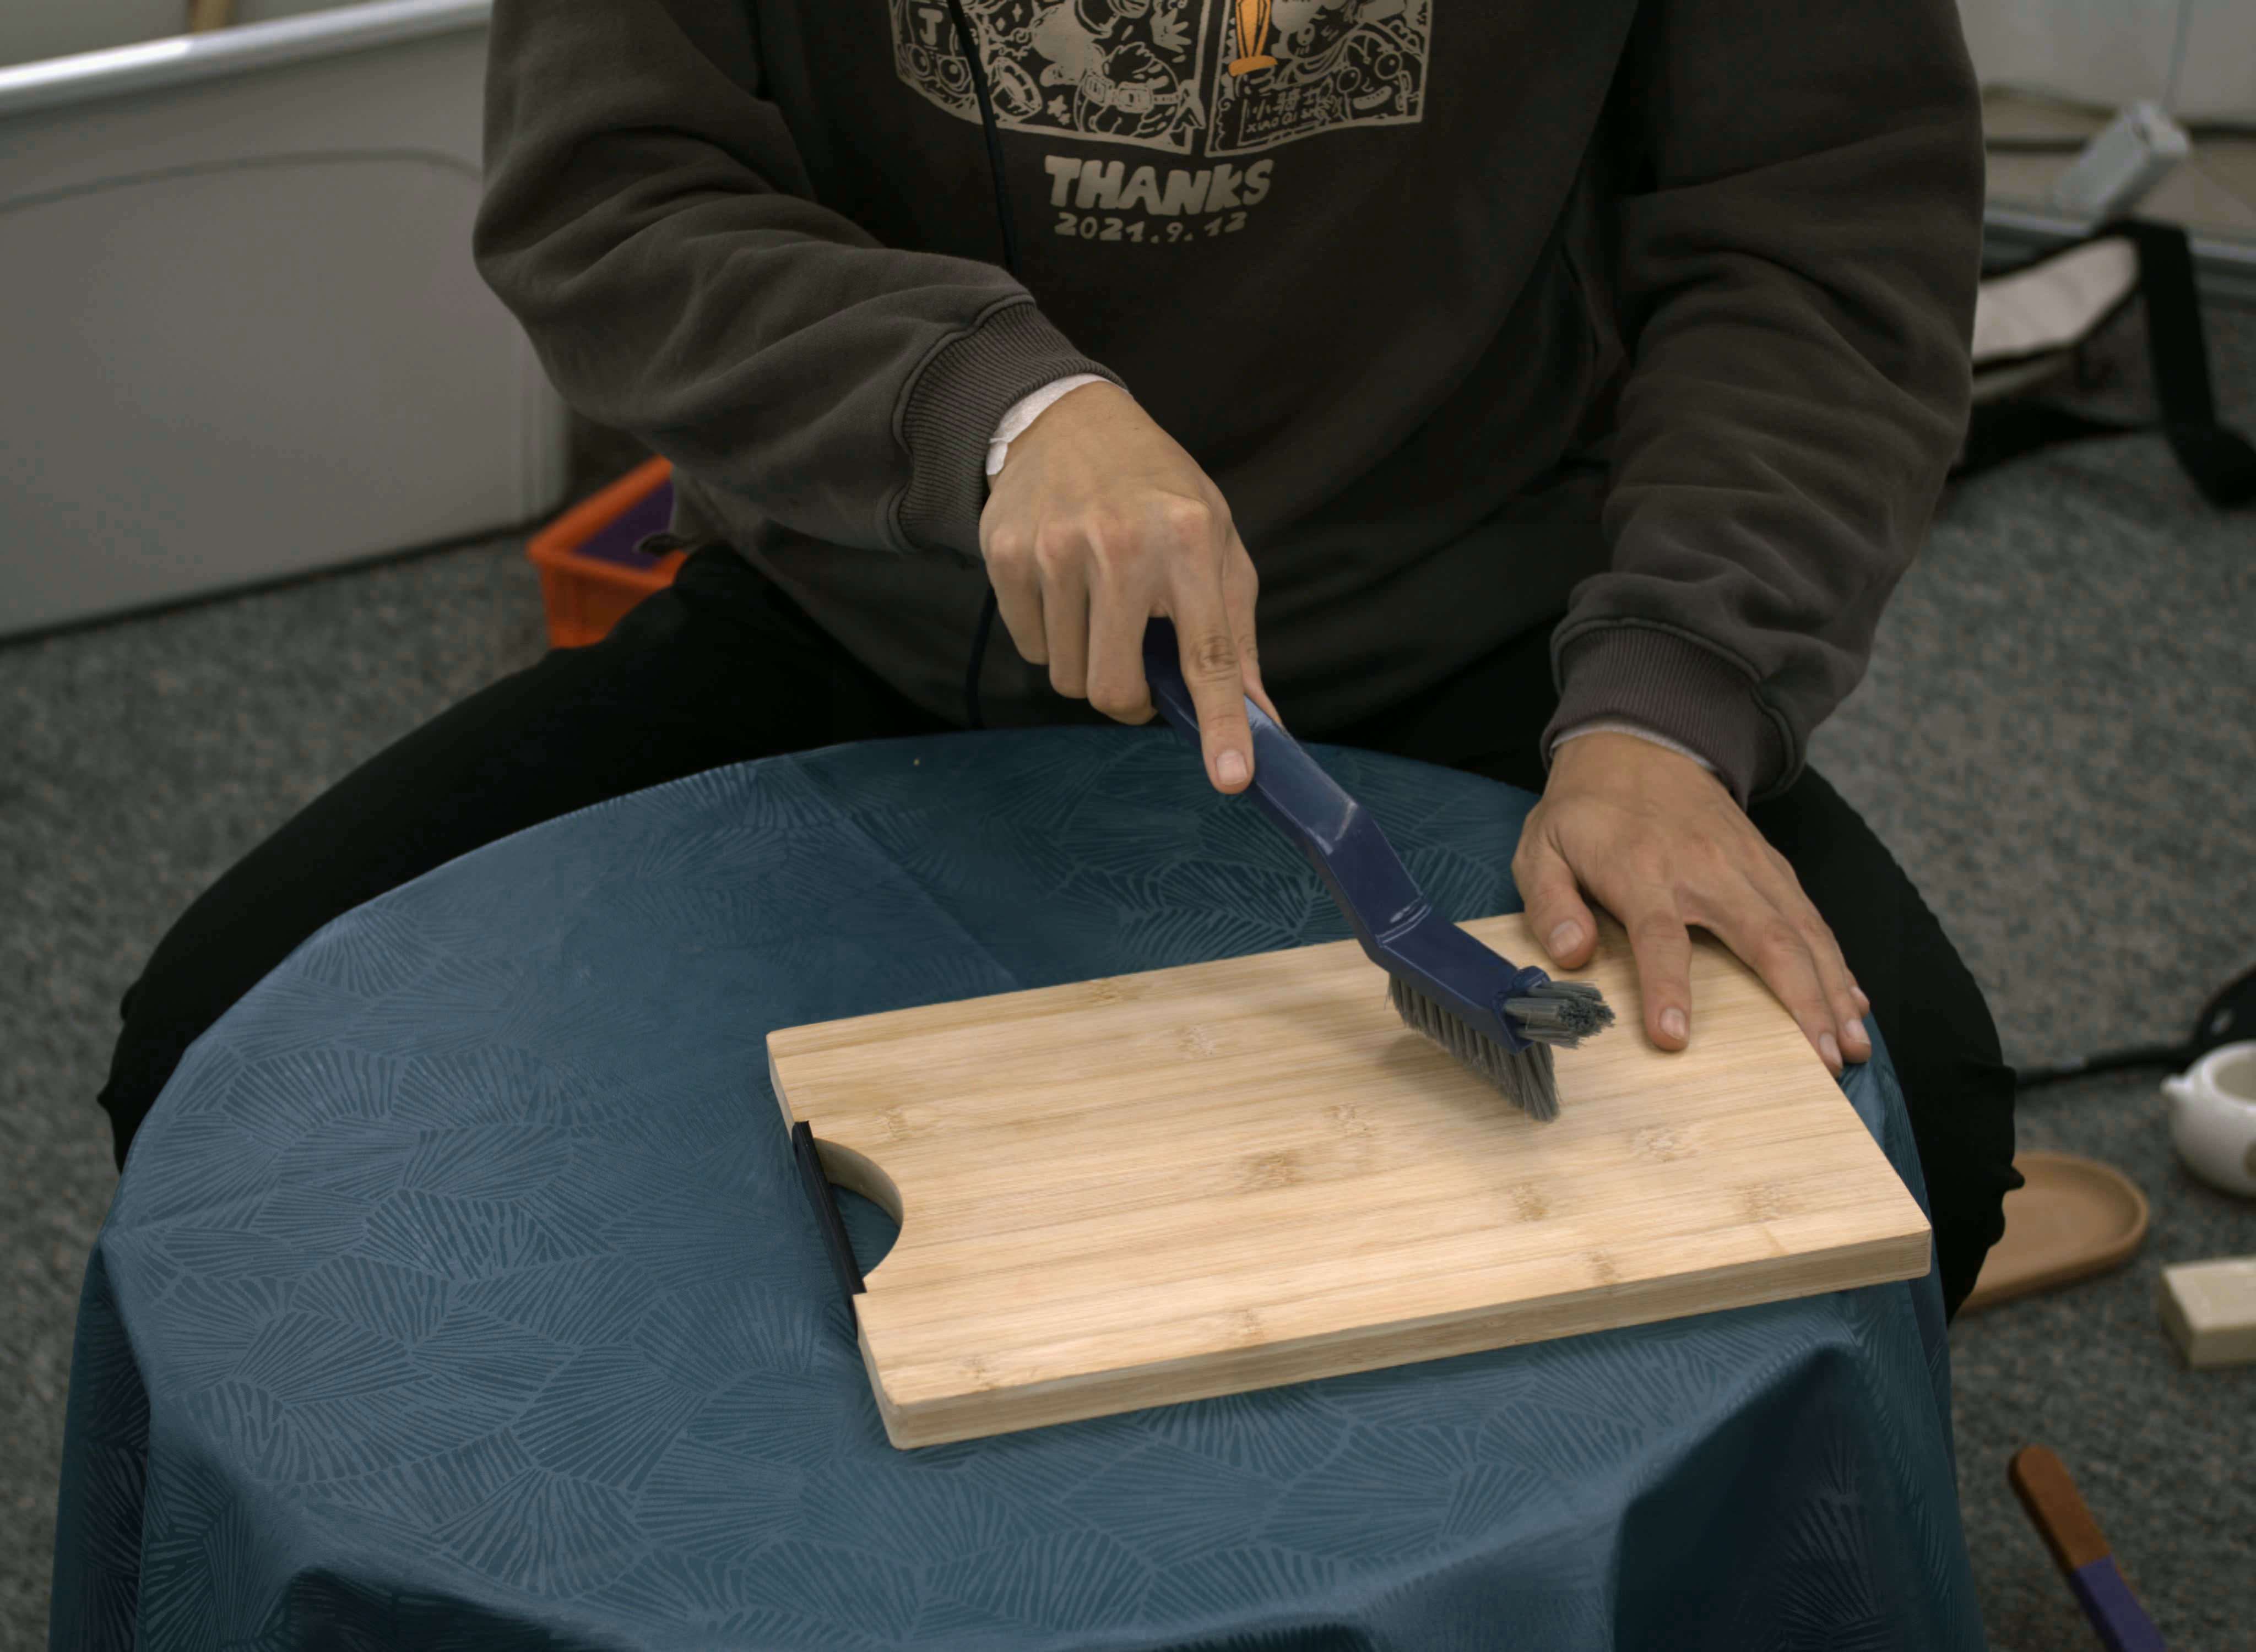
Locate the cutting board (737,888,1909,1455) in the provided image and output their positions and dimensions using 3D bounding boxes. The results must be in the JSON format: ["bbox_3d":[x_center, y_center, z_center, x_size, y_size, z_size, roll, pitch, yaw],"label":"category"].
[{"bbox_3d":[0.060,0.109,1.861,0.348,0.023,0.253,-9,28,-11],"label":"cutting board"}]

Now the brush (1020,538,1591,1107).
[{"bbox_3d":[0.059,-0.013,1.893,0.034,0.094,0.275,-31,66,-22],"label":"brush"}]
